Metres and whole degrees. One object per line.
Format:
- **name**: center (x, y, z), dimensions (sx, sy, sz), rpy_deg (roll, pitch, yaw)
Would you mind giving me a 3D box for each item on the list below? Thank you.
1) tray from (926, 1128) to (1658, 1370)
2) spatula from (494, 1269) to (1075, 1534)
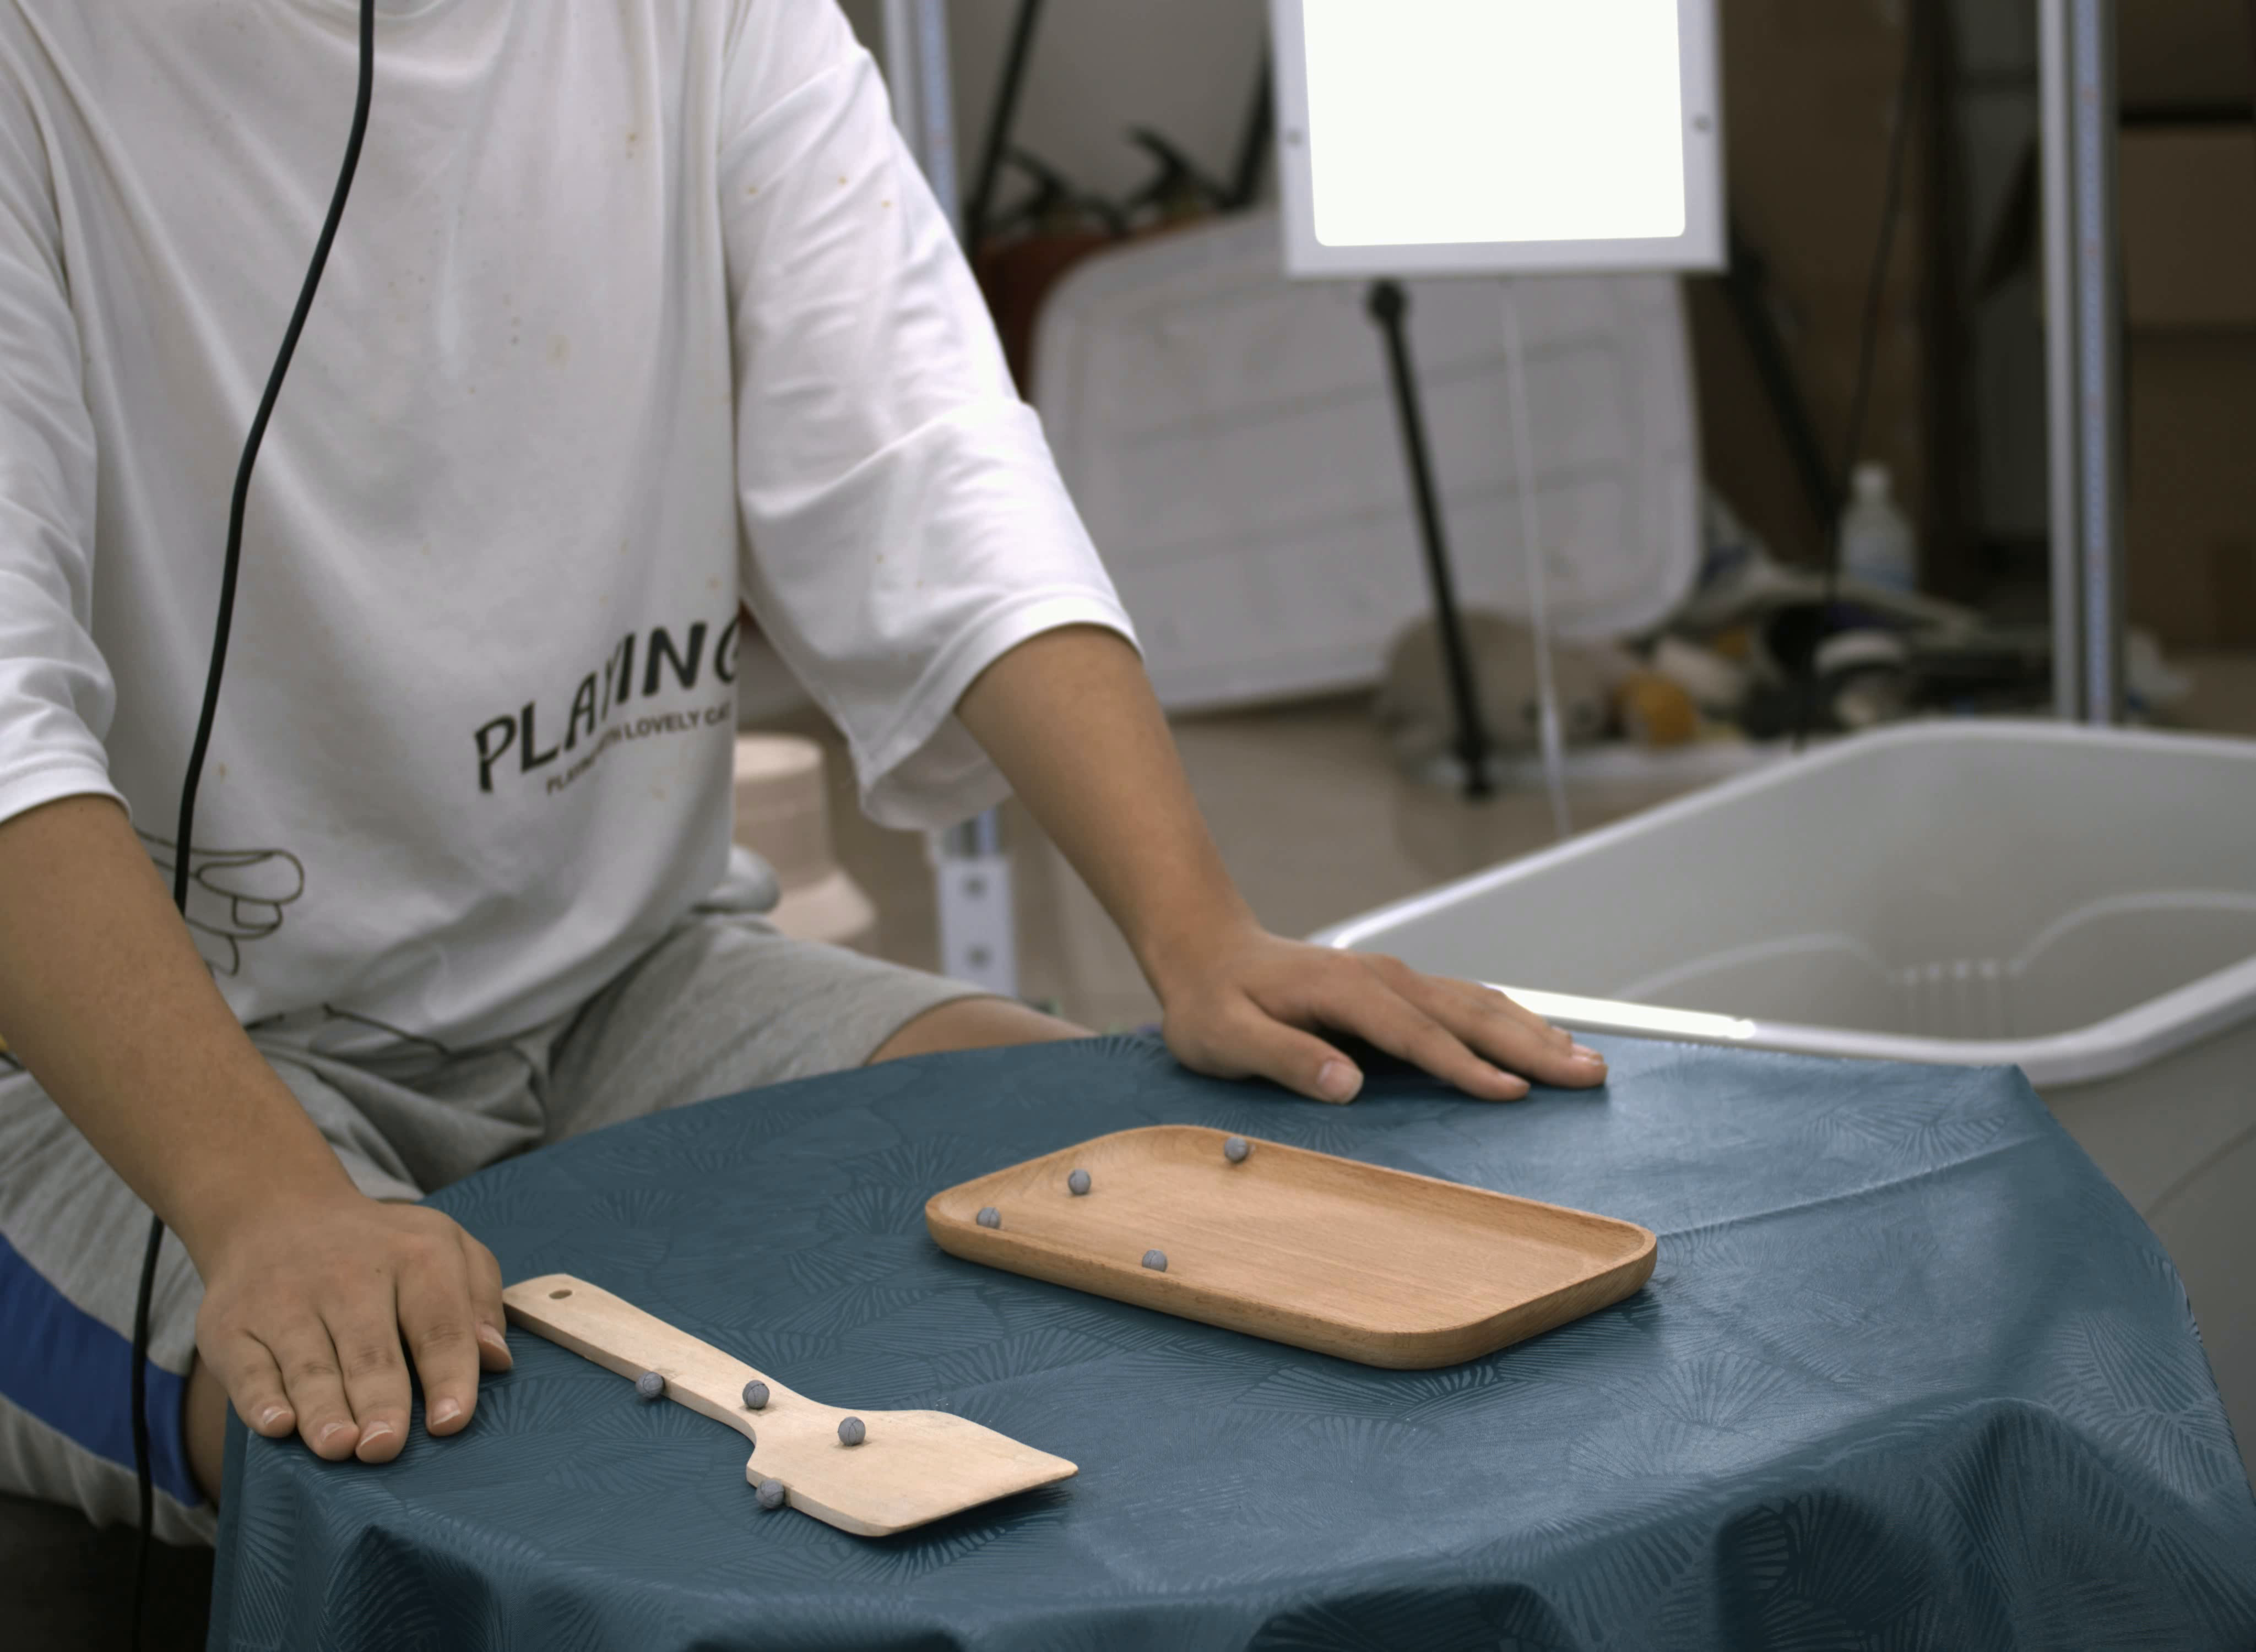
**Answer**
- **tray**: center (0.051, 0.136, 1.804), dimensions (0.127, 0.023, 0.256), rpy_deg (-19, 19, -37)
- **spatula**: center (-0.122, 0.176, 1.720), dimensions (0.070, 0.011, 0.299), rpy_deg (-15, 16, -31)
